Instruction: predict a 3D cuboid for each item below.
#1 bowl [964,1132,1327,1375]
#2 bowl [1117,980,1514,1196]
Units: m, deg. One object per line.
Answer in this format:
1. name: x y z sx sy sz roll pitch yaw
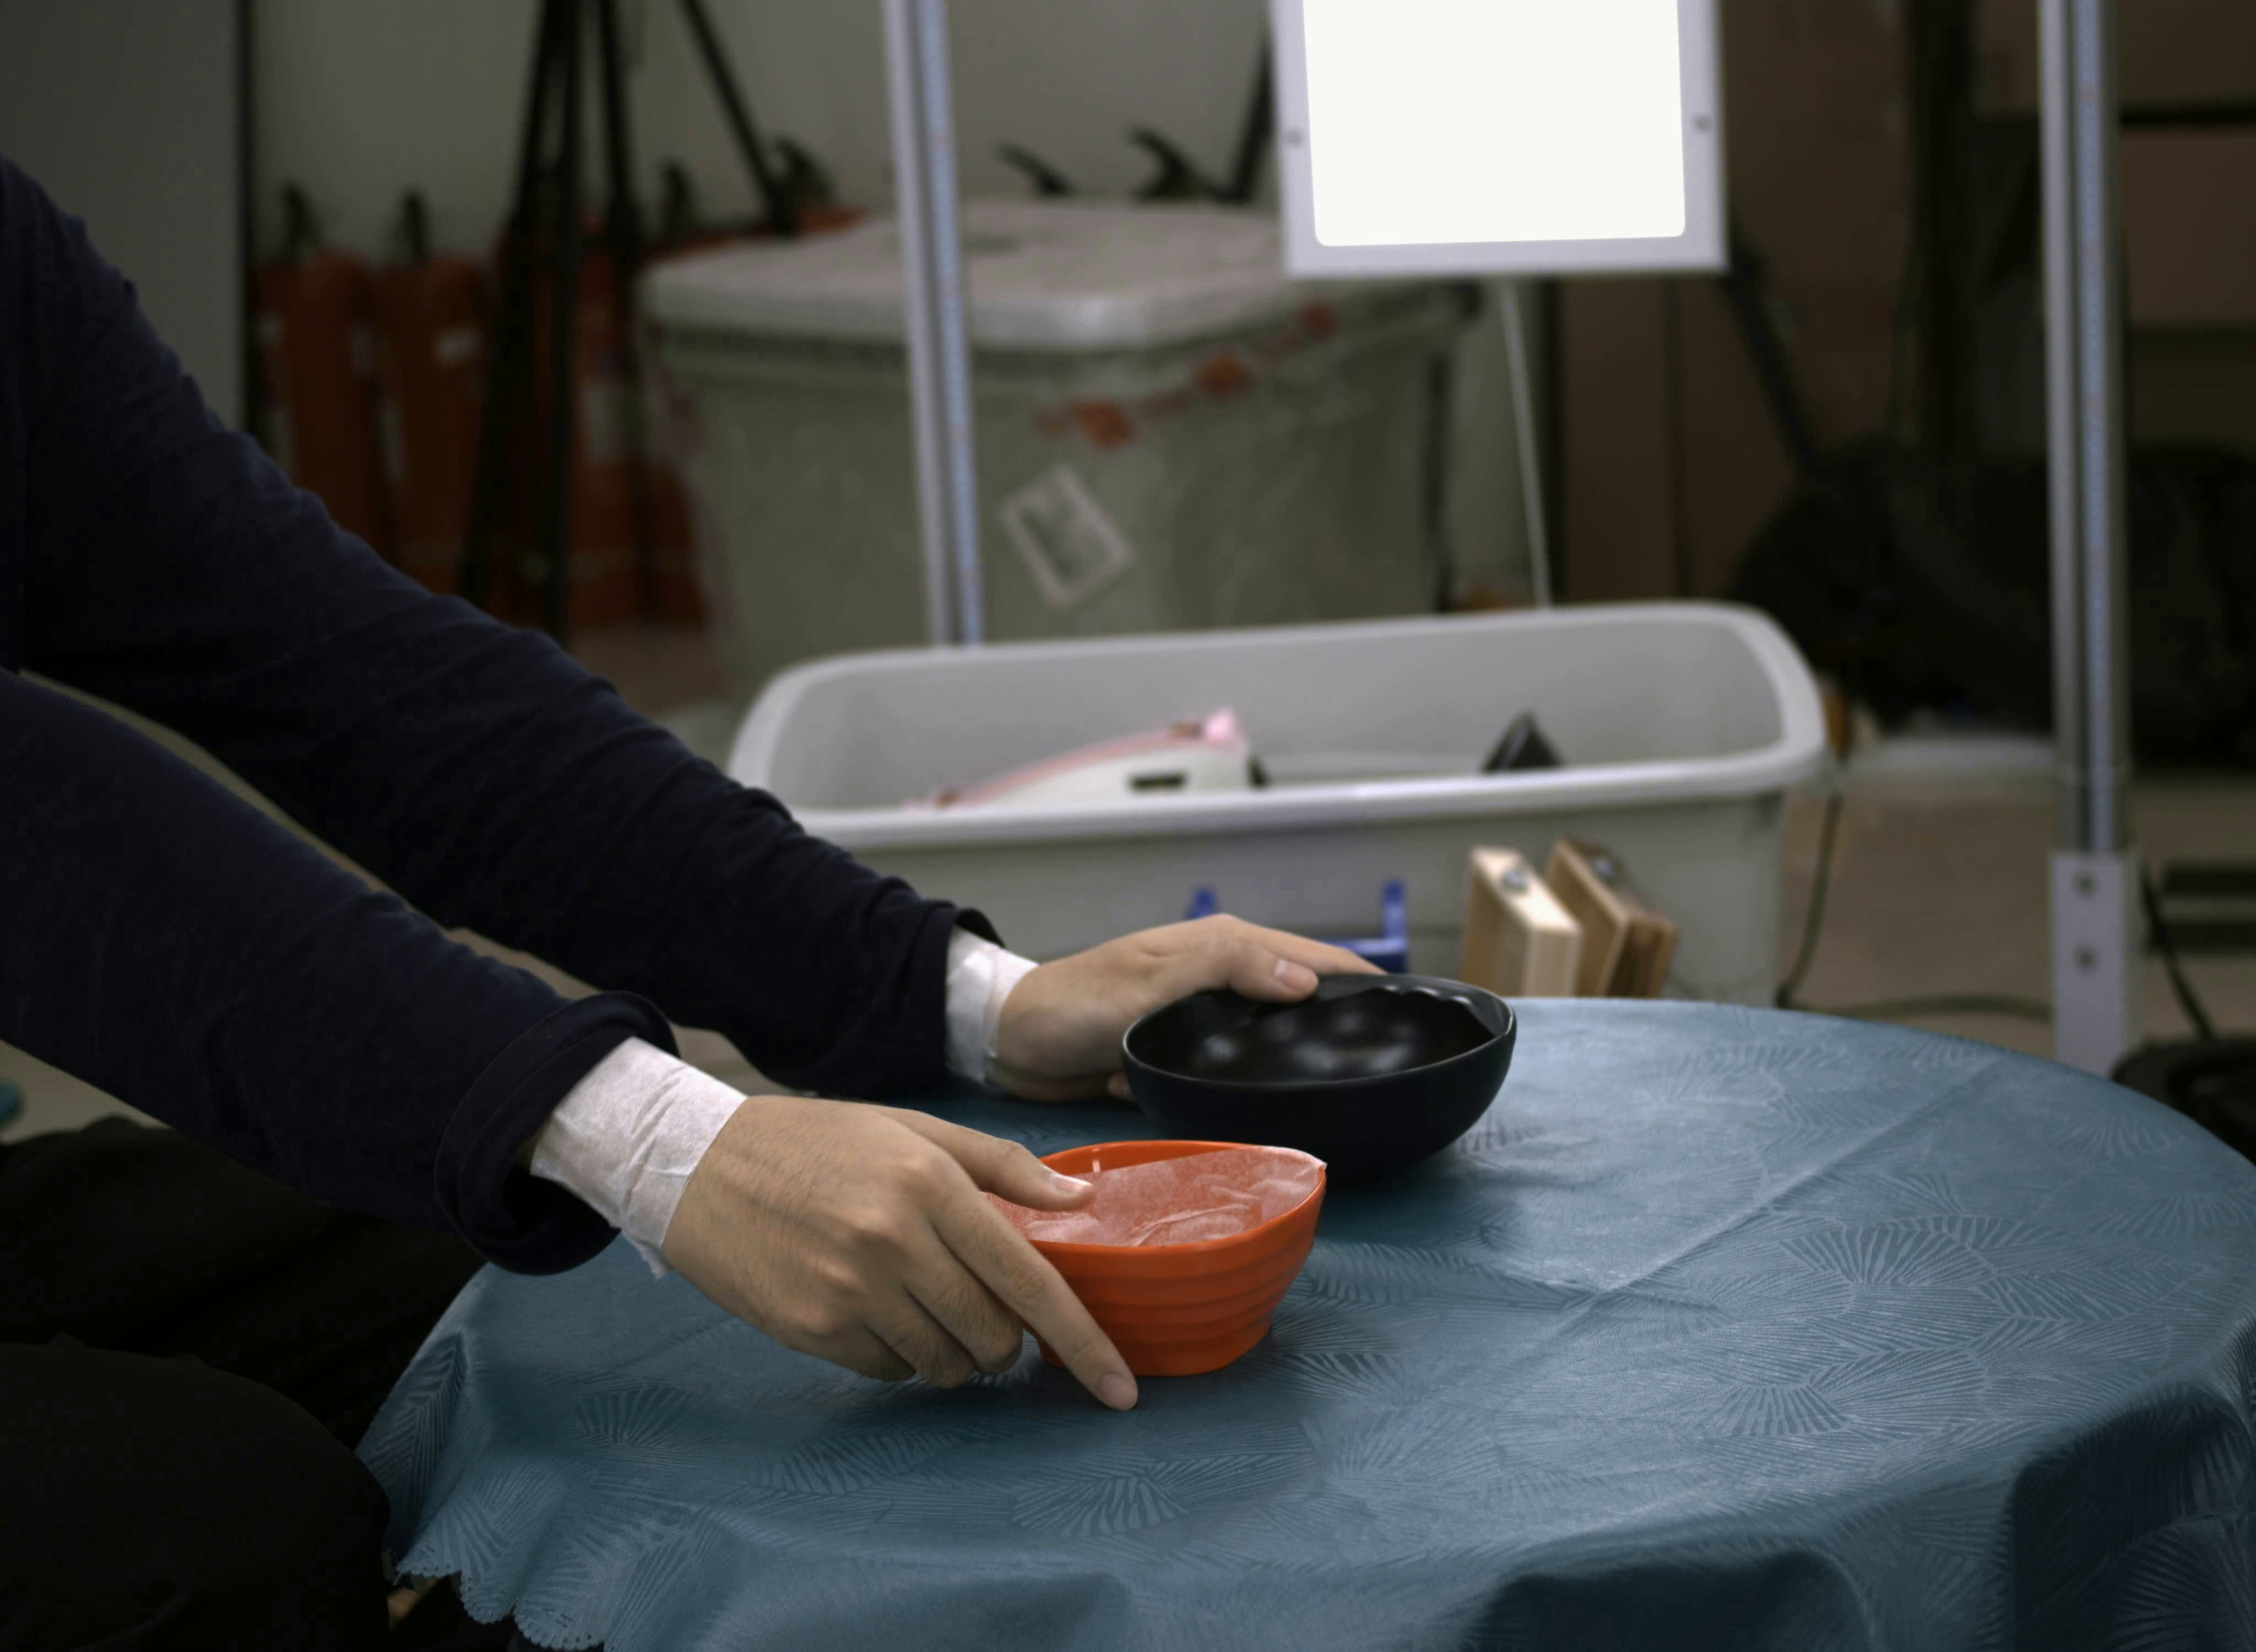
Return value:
1. bowl: 0.007 0.138 1.743 0.118 0.051 0.119 -4 15 0
2. bowl: 0.068 0.095 1.914 0.140 0.050 0.140 -9 12 0
